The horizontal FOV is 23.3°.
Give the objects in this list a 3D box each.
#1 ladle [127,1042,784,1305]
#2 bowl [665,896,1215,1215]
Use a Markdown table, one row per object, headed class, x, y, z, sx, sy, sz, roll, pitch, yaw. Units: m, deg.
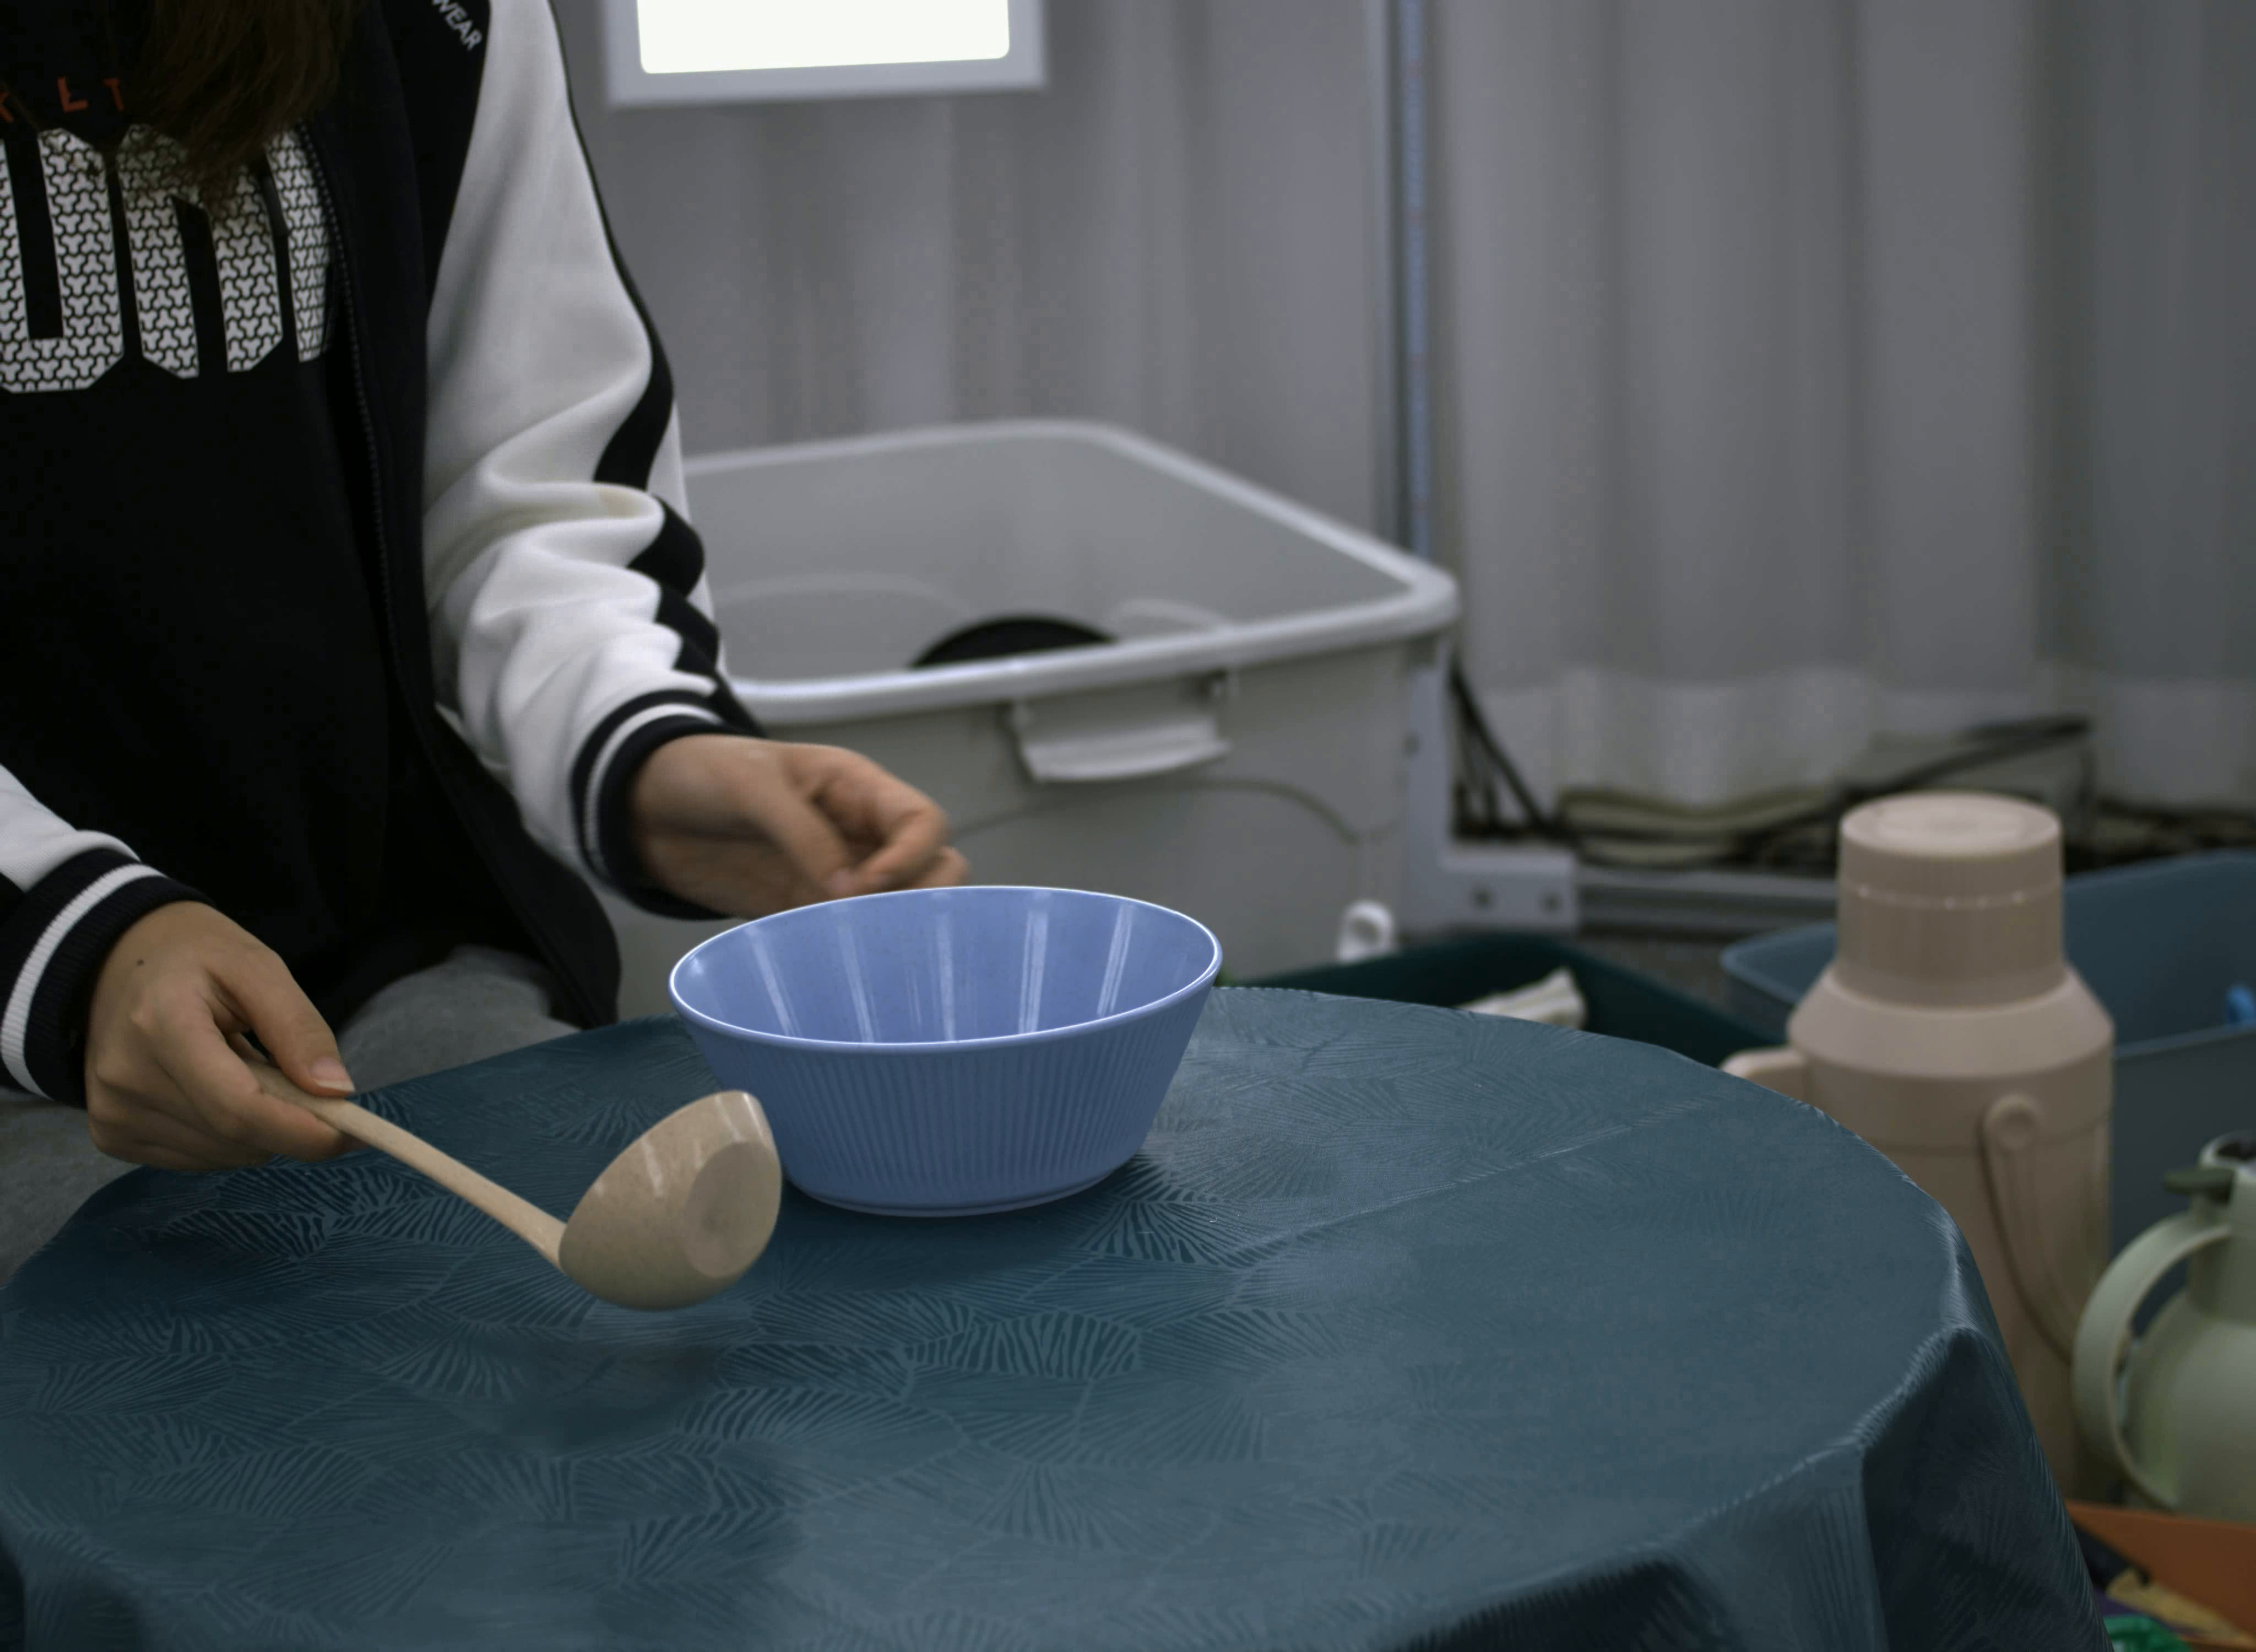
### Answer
| class | x | y | z | sx | sy | sz | roll | pitch | yaw |
| --- | --- | --- | --- | --- | --- | --- | --- | --- | --- |
| ladle | -0.208 | 0.075 | 1.628 | 0.256 | 0.072 | 0.072 | 20 | 23 | 35 |
| bowl | -0.058 | 0.075 | 1.740 | 0.175 | 0.070 | 0.177 | -2 | 14 | 0 |
